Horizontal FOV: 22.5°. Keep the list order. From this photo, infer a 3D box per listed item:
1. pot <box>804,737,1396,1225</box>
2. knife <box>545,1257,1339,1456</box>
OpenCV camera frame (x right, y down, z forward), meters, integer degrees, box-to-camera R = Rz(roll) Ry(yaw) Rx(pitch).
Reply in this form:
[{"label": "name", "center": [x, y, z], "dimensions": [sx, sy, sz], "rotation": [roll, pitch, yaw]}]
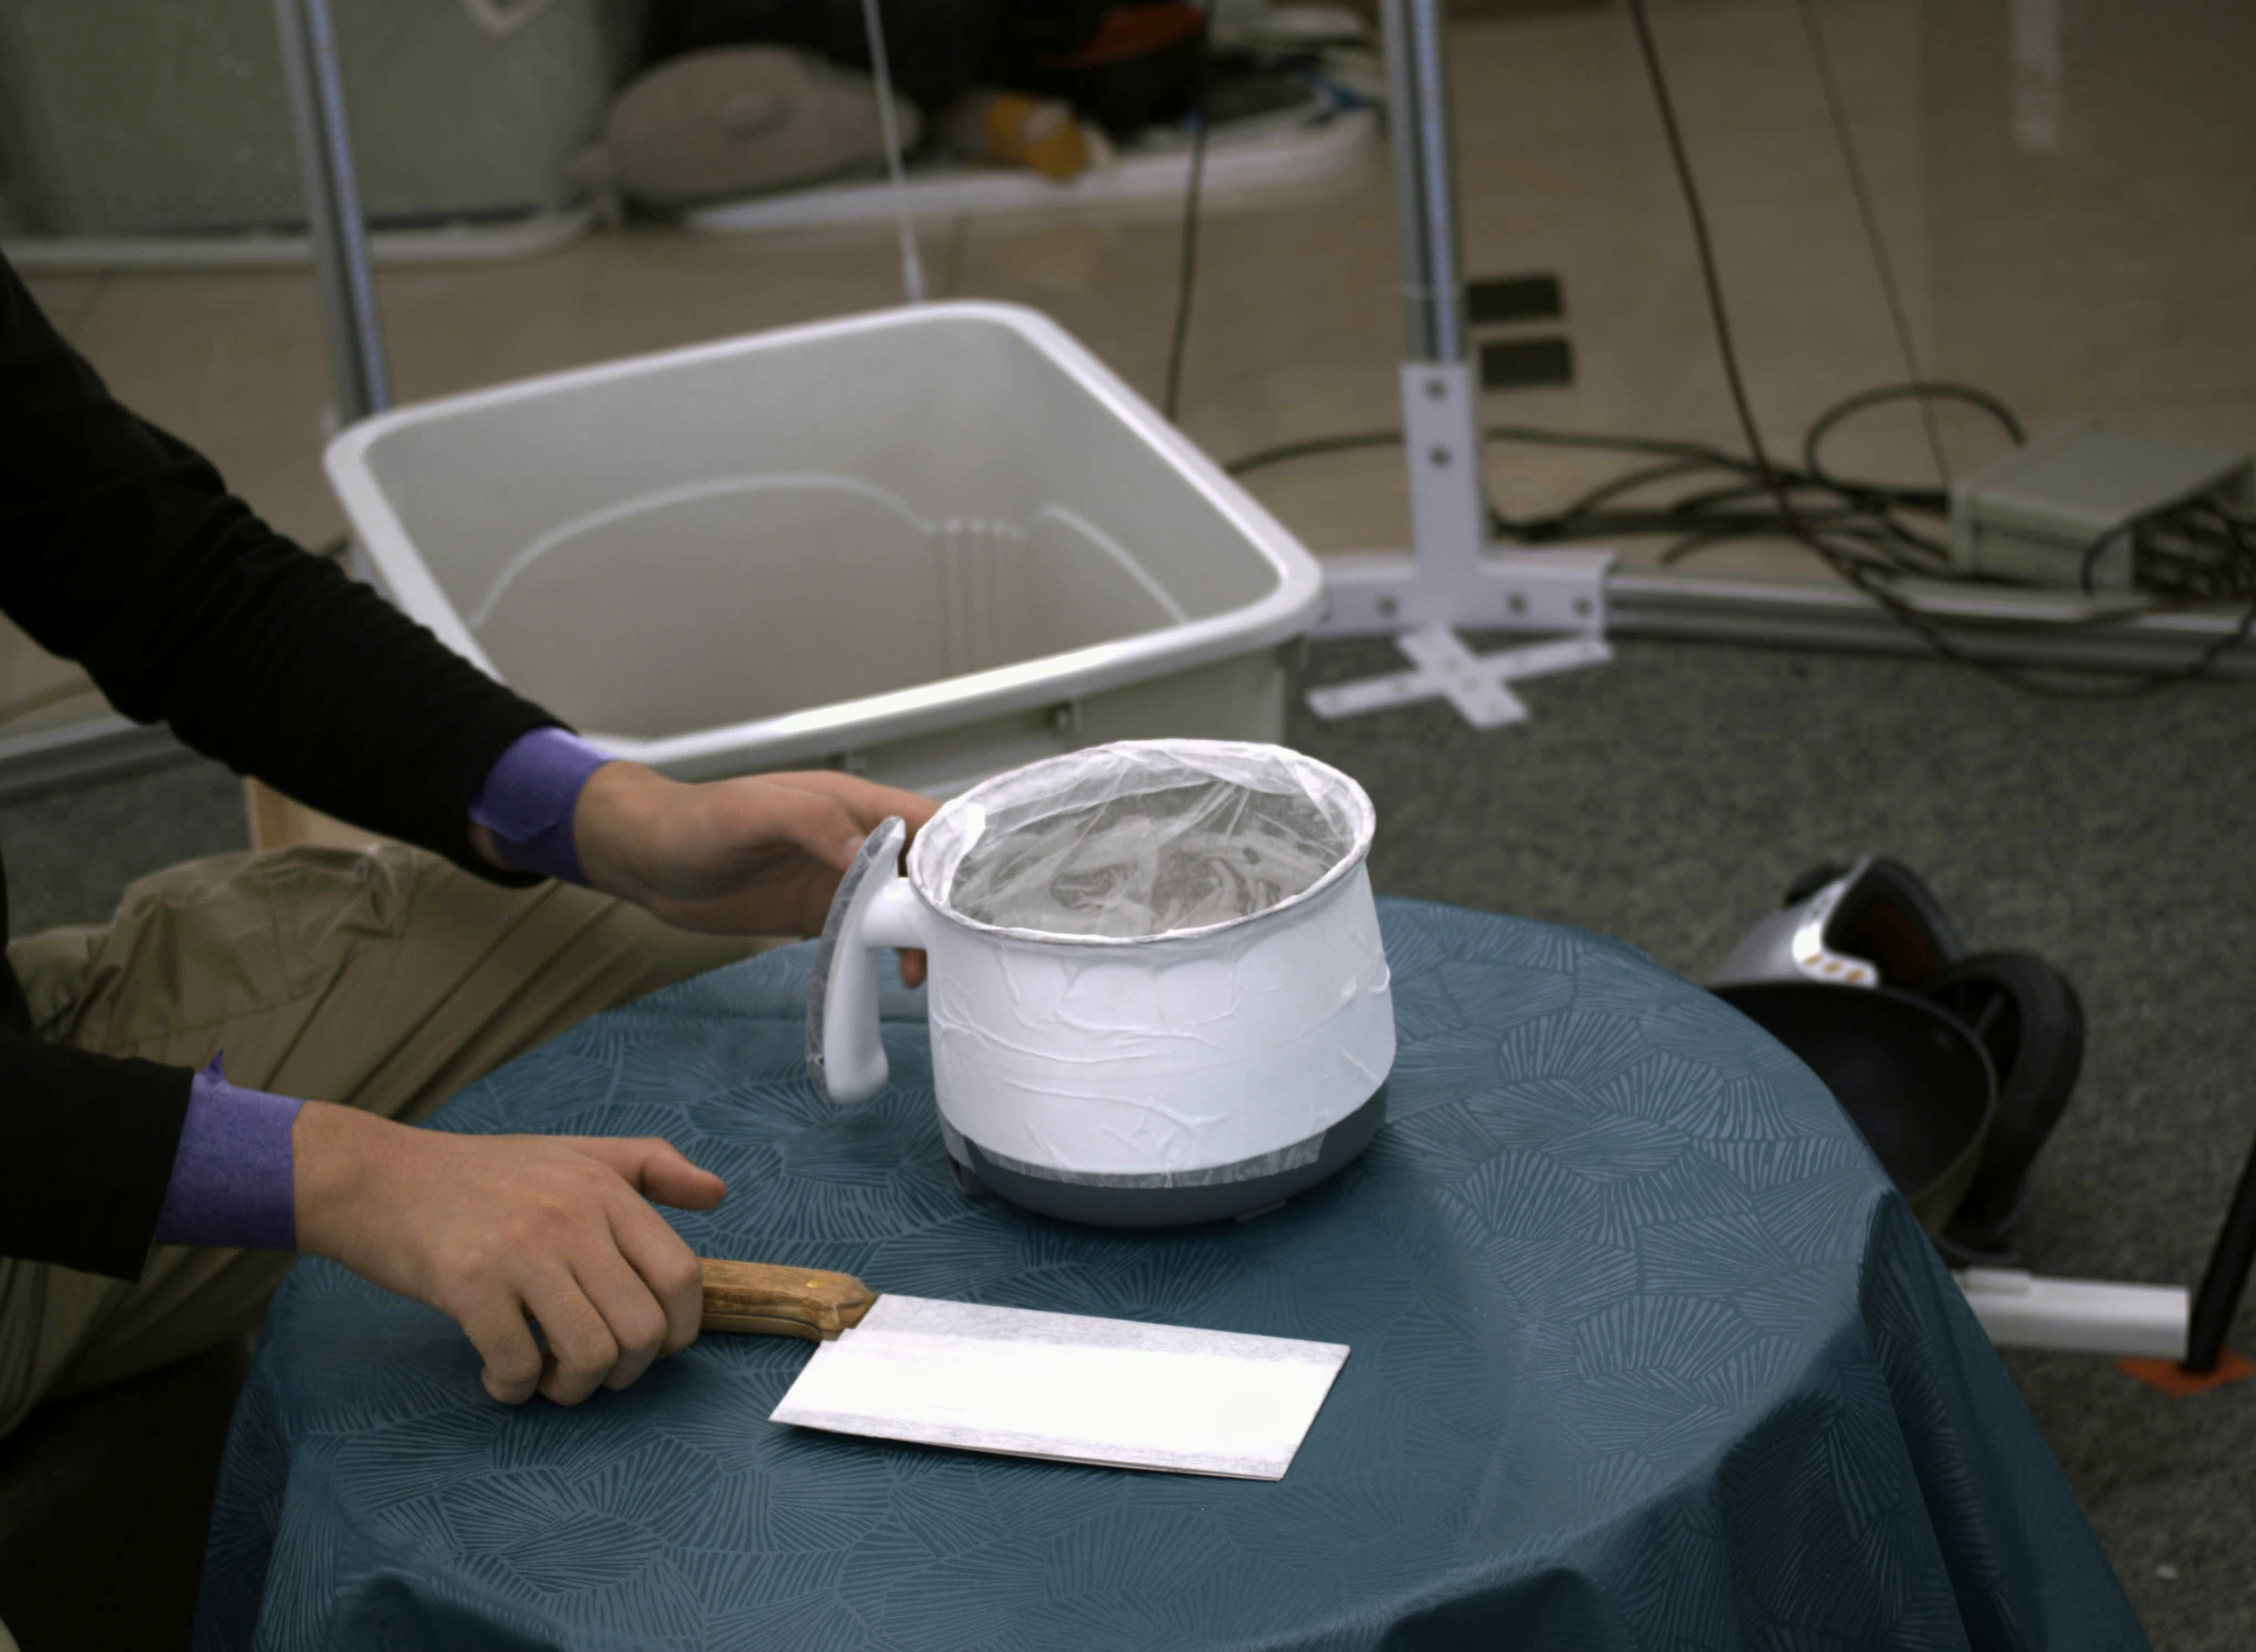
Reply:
[{"label": "pot", "center": [-0.015, 0.059, 2.156], "dimensions": [0.233, 0.139, 0.176], "rotation": [2, 26, 16]}, {"label": "knife", "center": [-0.077, 0.193, 2.036], "dimensions": [0.305, 0.021, 0.091], "rotation": [4, 27, 18]}]
